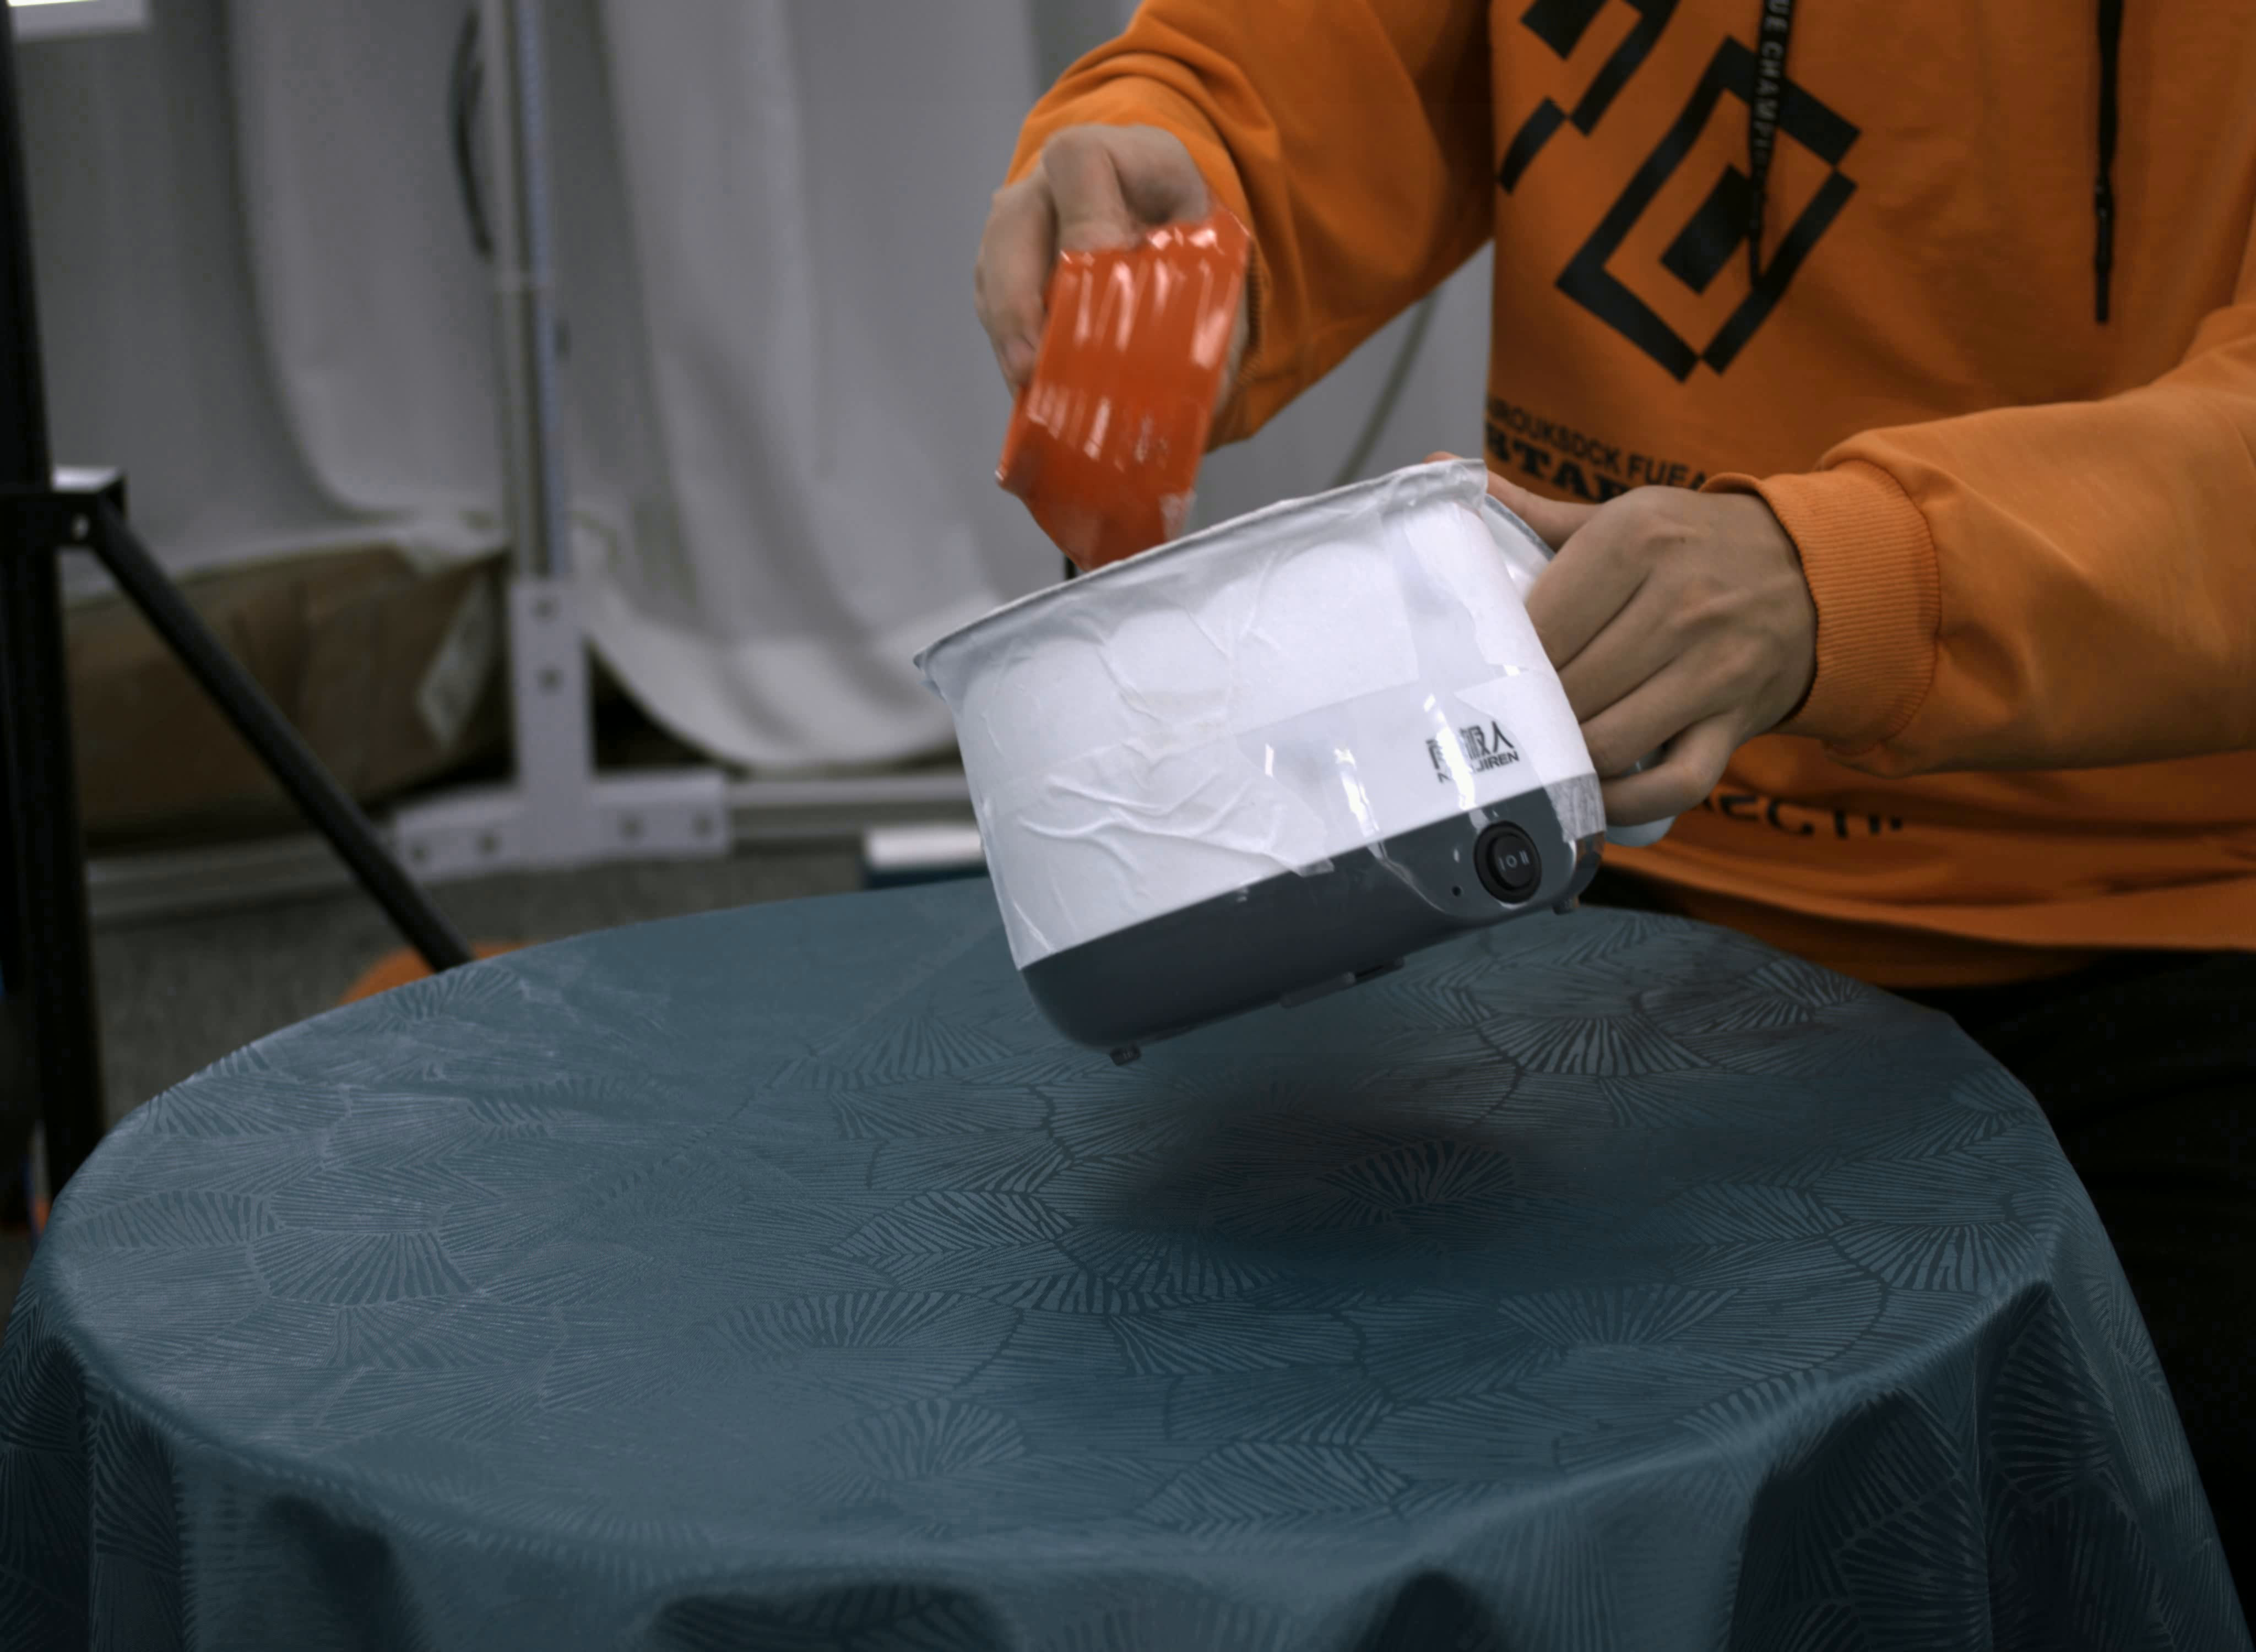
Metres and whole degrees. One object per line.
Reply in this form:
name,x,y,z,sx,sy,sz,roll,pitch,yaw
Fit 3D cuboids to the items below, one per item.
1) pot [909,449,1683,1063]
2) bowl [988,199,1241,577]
pot,0.061,-0.024,1.555,0.228,0.137,0.182,-16,-3,-38
bowl,-0.007,-0.129,1.537,0.051,0.119,0.119,14,15,-5
